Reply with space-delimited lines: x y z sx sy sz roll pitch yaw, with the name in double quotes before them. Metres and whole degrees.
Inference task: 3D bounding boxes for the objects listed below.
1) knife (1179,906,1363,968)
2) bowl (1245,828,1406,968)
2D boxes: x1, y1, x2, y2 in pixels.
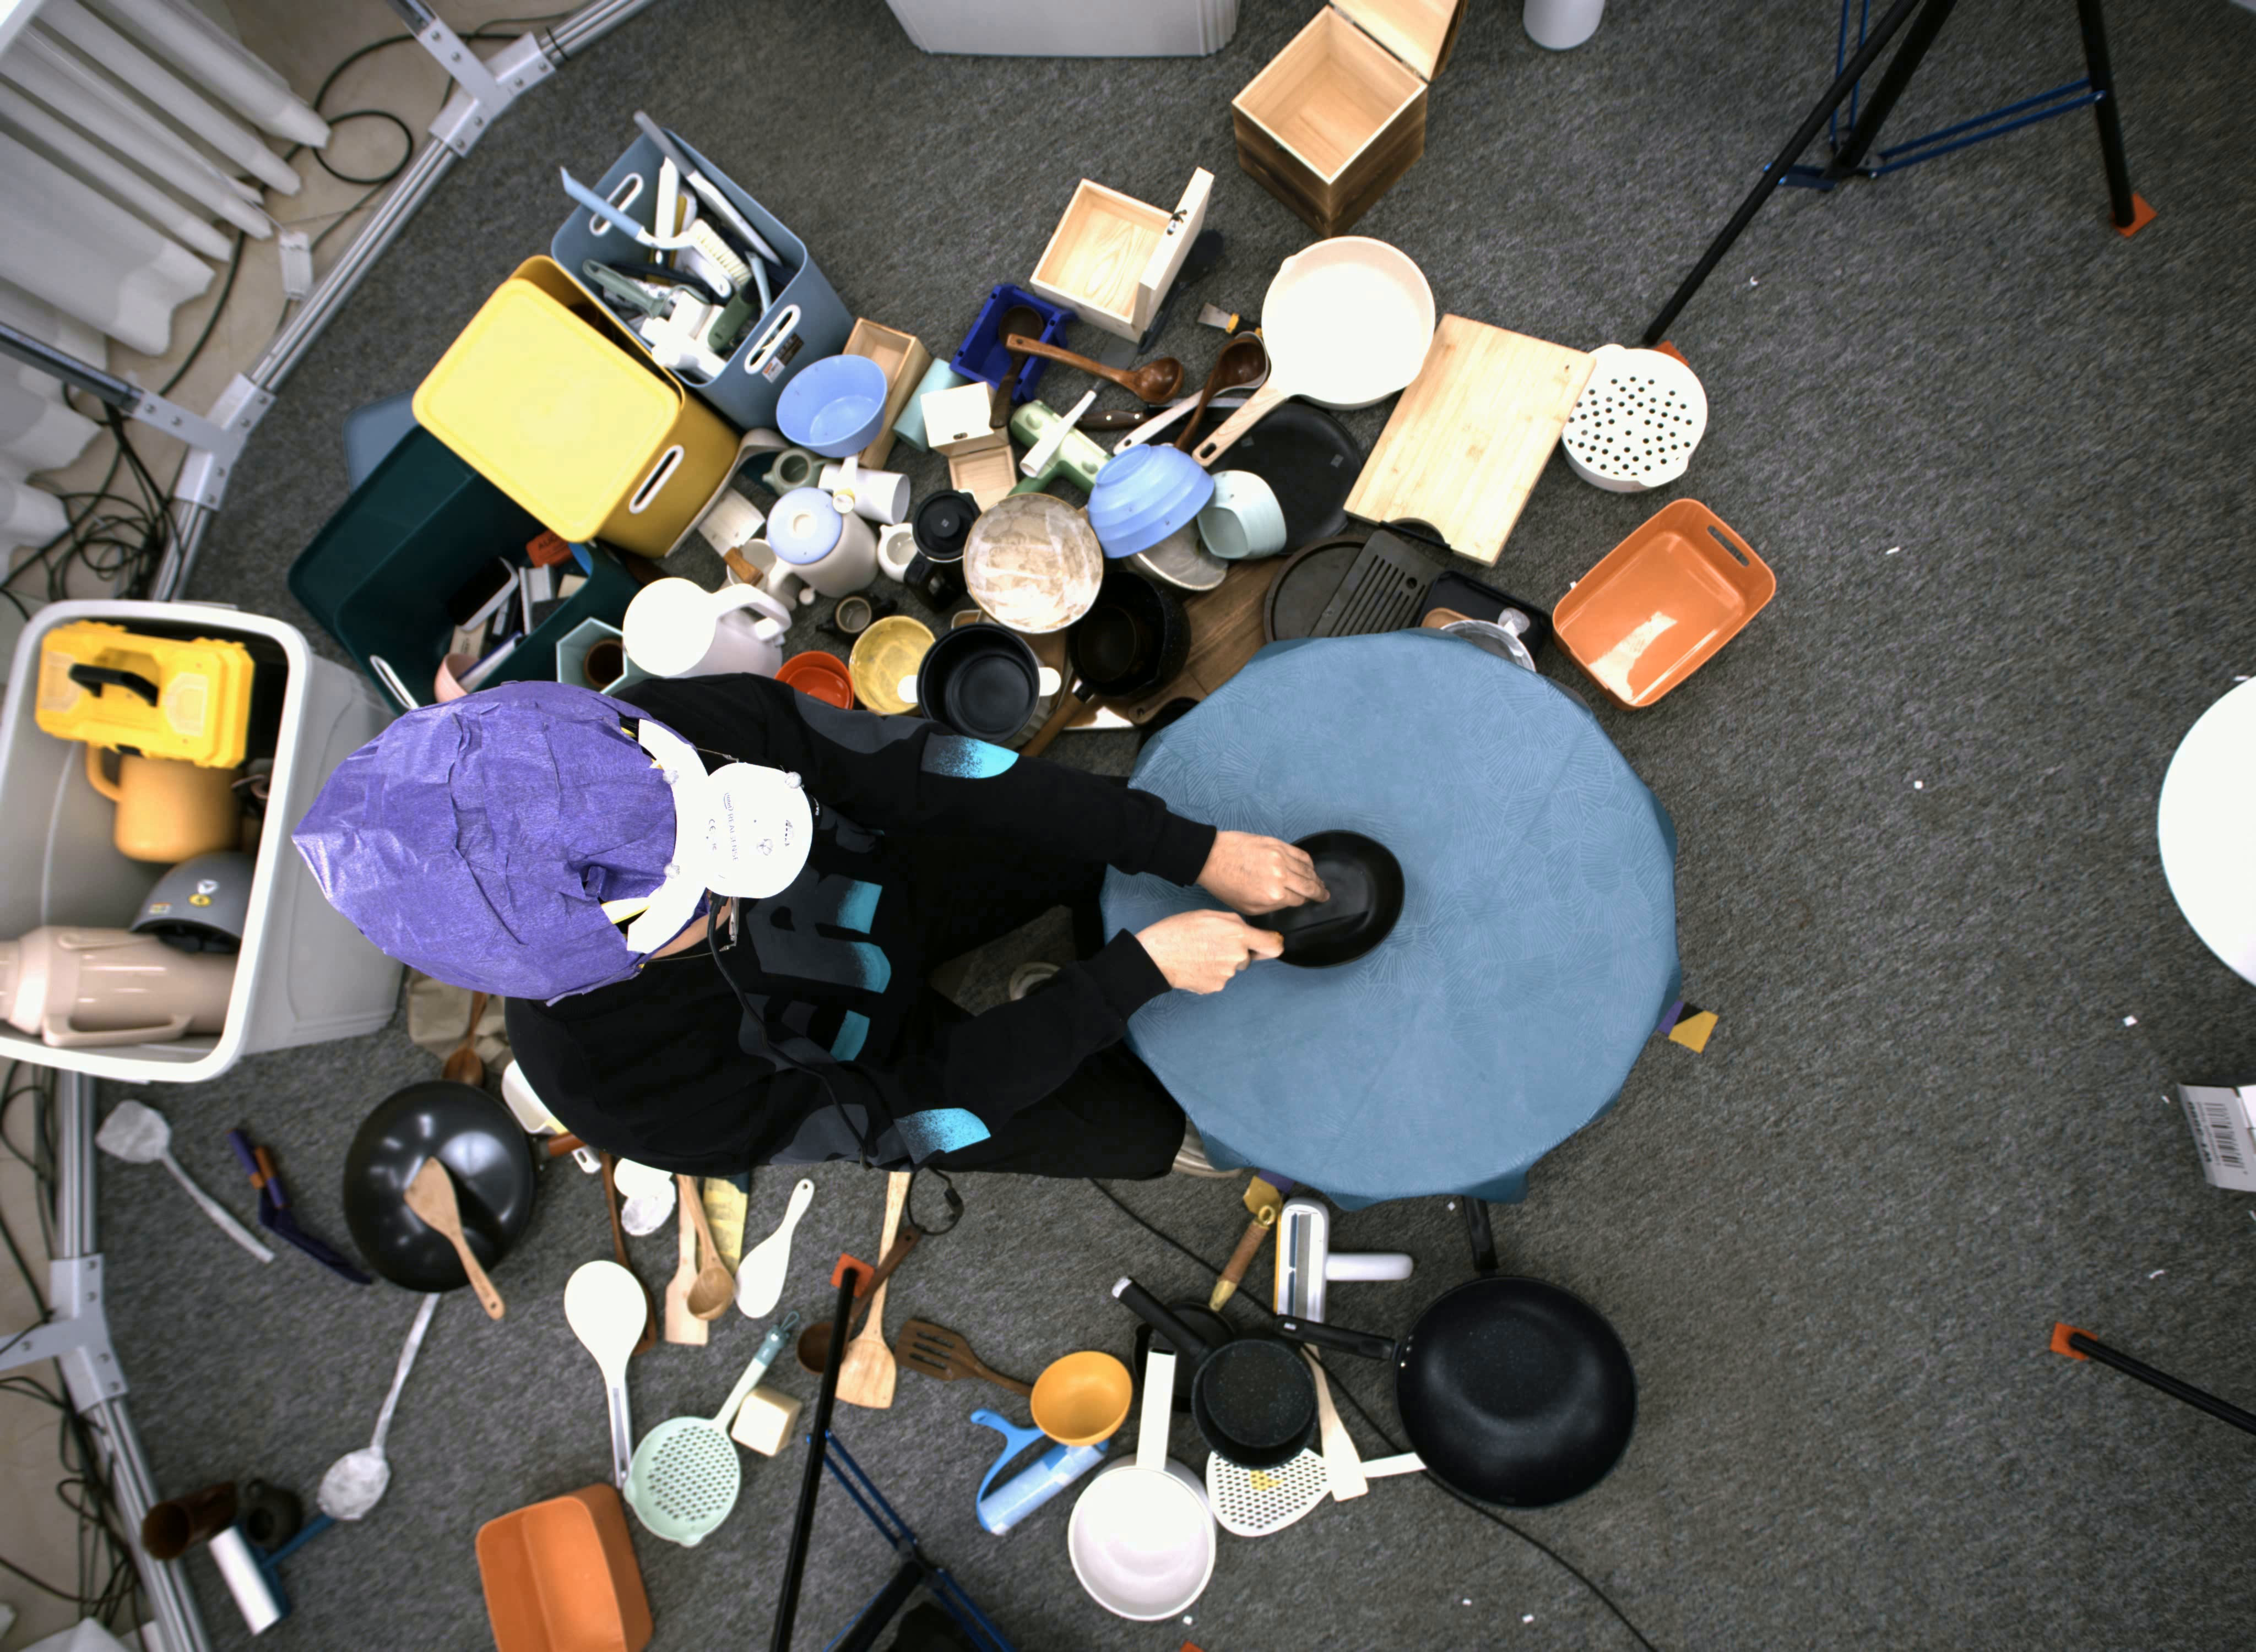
"knife" 0.149 0.109 1.409 0.223 0.026 0.017 -14 97 -22
"bowl" 0.207 0.077 1.438 0.171 0.066 0.136 -26 82 10
